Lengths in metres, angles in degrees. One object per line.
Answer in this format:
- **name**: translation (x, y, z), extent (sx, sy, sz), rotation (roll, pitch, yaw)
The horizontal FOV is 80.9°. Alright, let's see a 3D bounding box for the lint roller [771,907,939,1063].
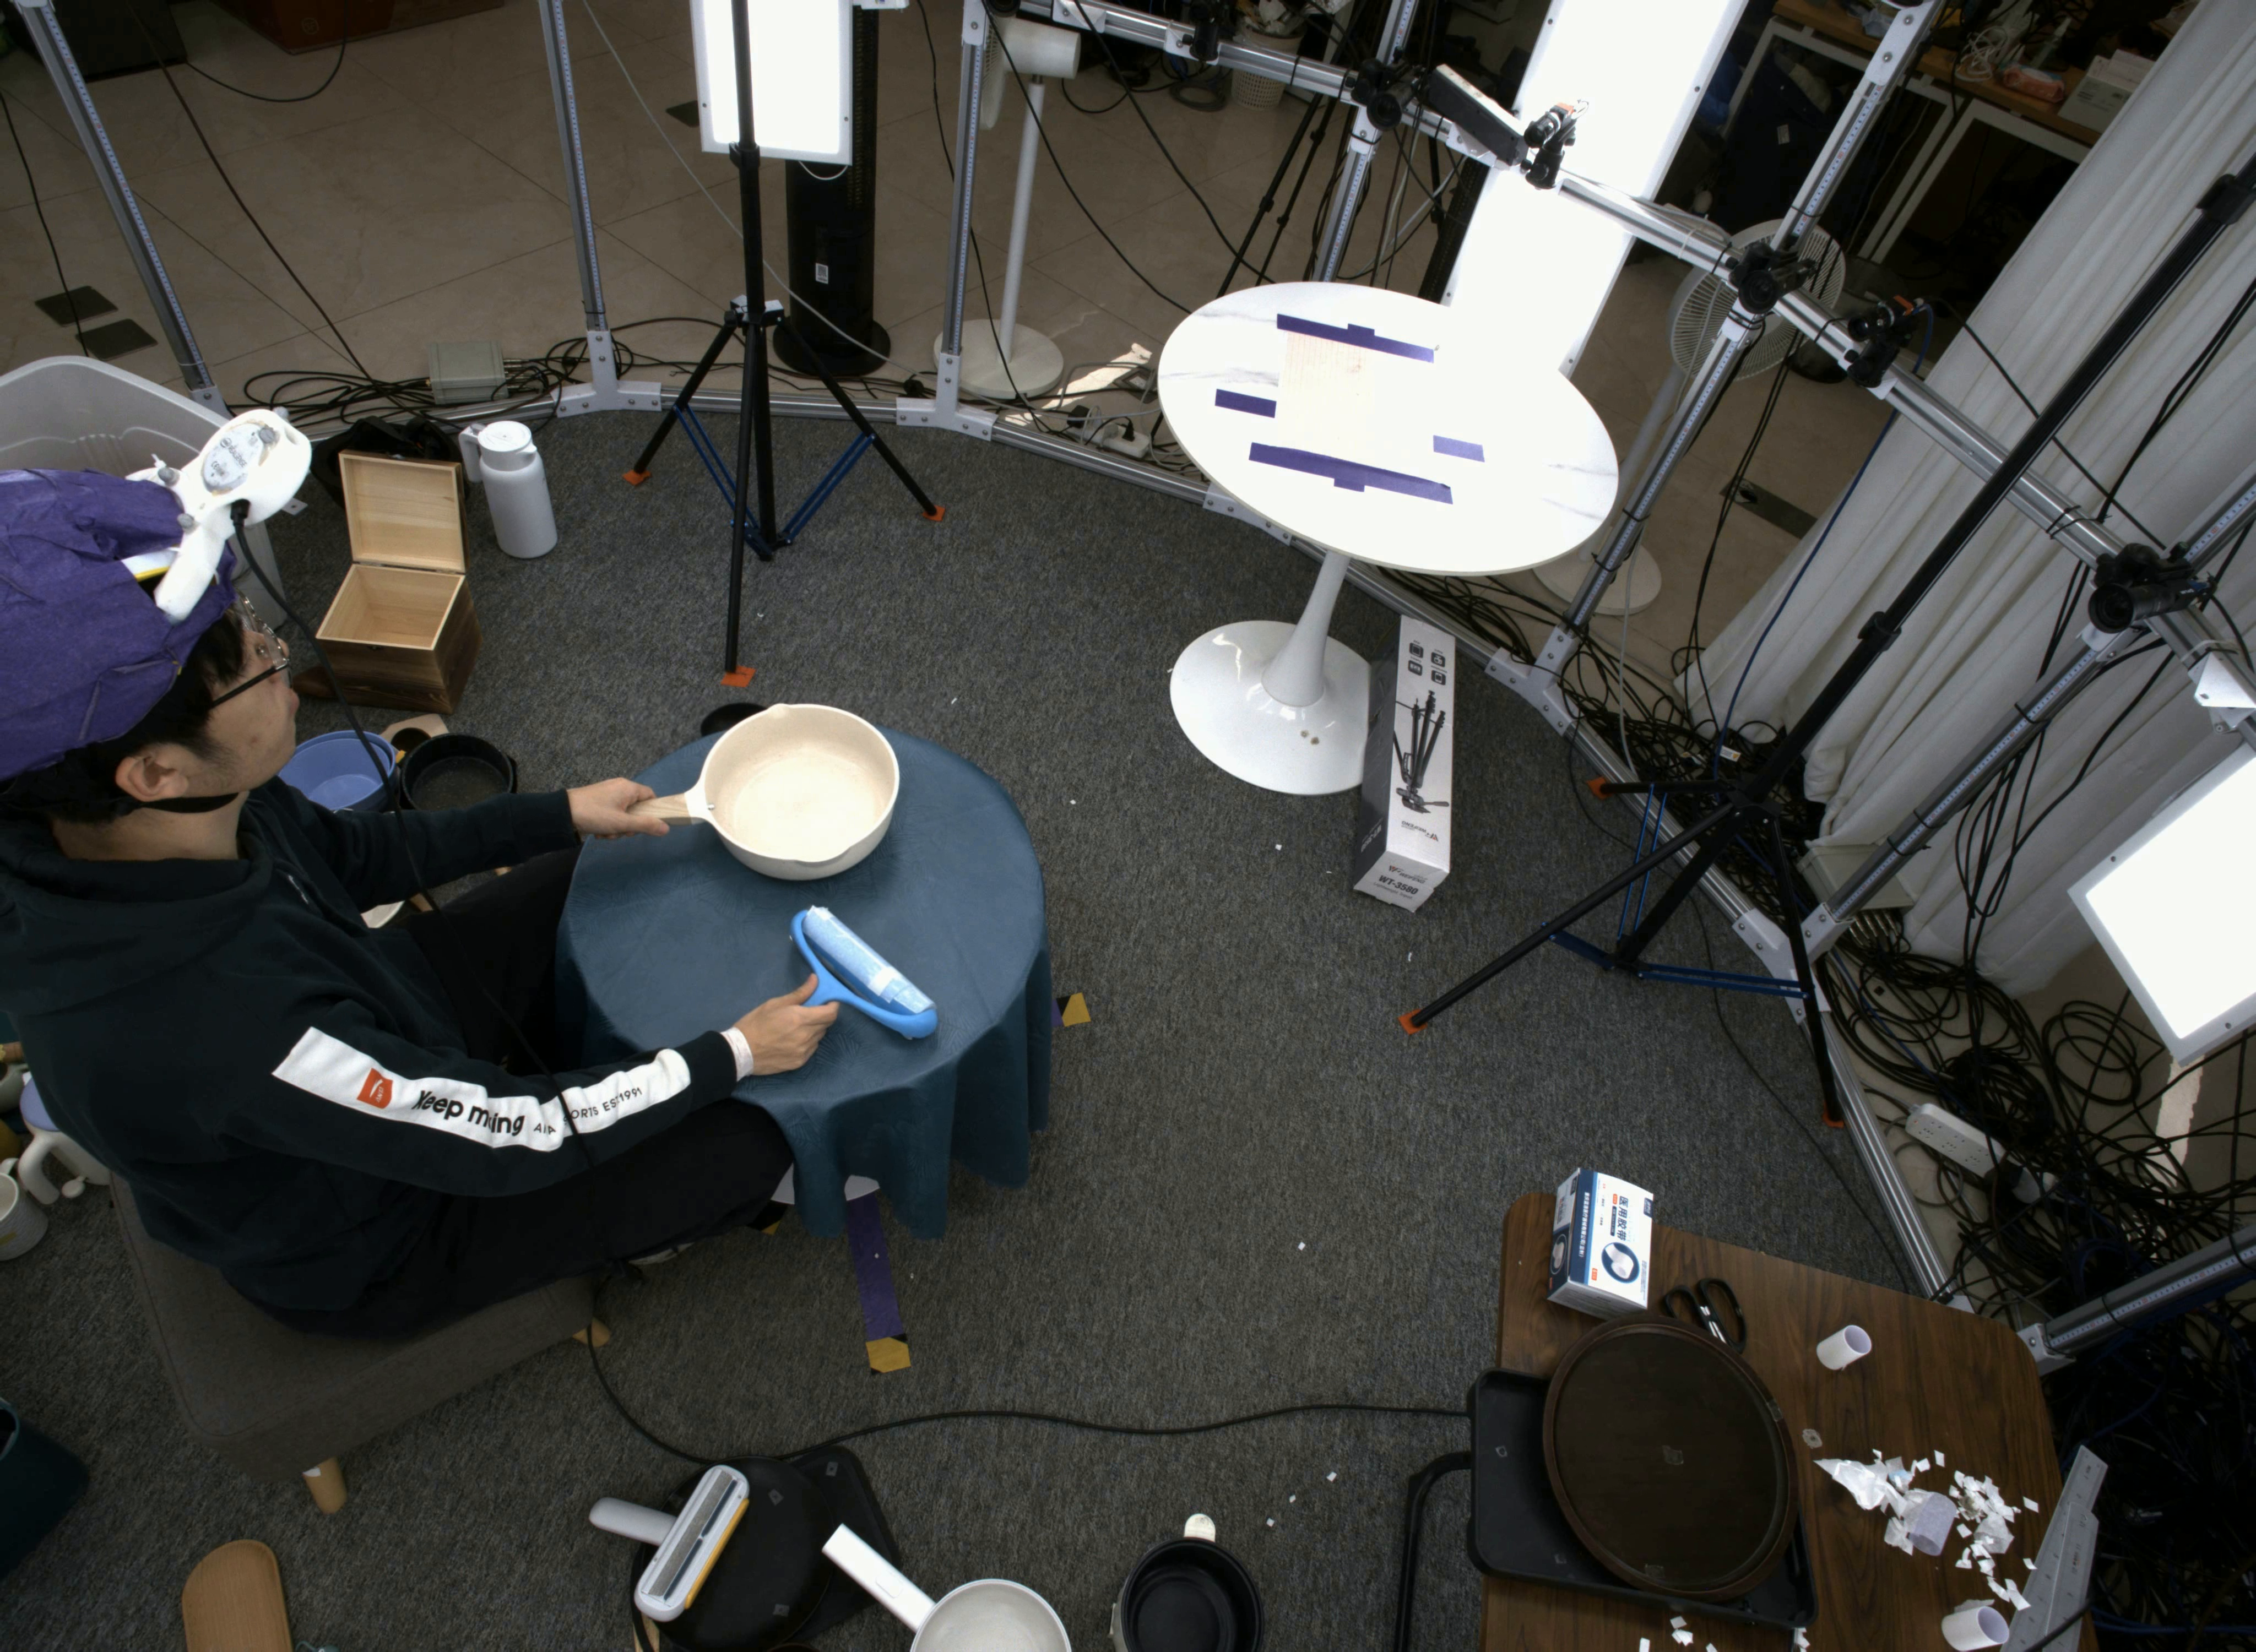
- **lint roller**: translation (-0.356, 0.207, 1.558), extent (0.225, 0.069, 0.180), rotation (36, 53, 11)

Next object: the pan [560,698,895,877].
- **pan**: translation (-0.512, -0.025, 1.660), extent (0.436, 0.104, 0.257), rotation (-16, 61, -19)
